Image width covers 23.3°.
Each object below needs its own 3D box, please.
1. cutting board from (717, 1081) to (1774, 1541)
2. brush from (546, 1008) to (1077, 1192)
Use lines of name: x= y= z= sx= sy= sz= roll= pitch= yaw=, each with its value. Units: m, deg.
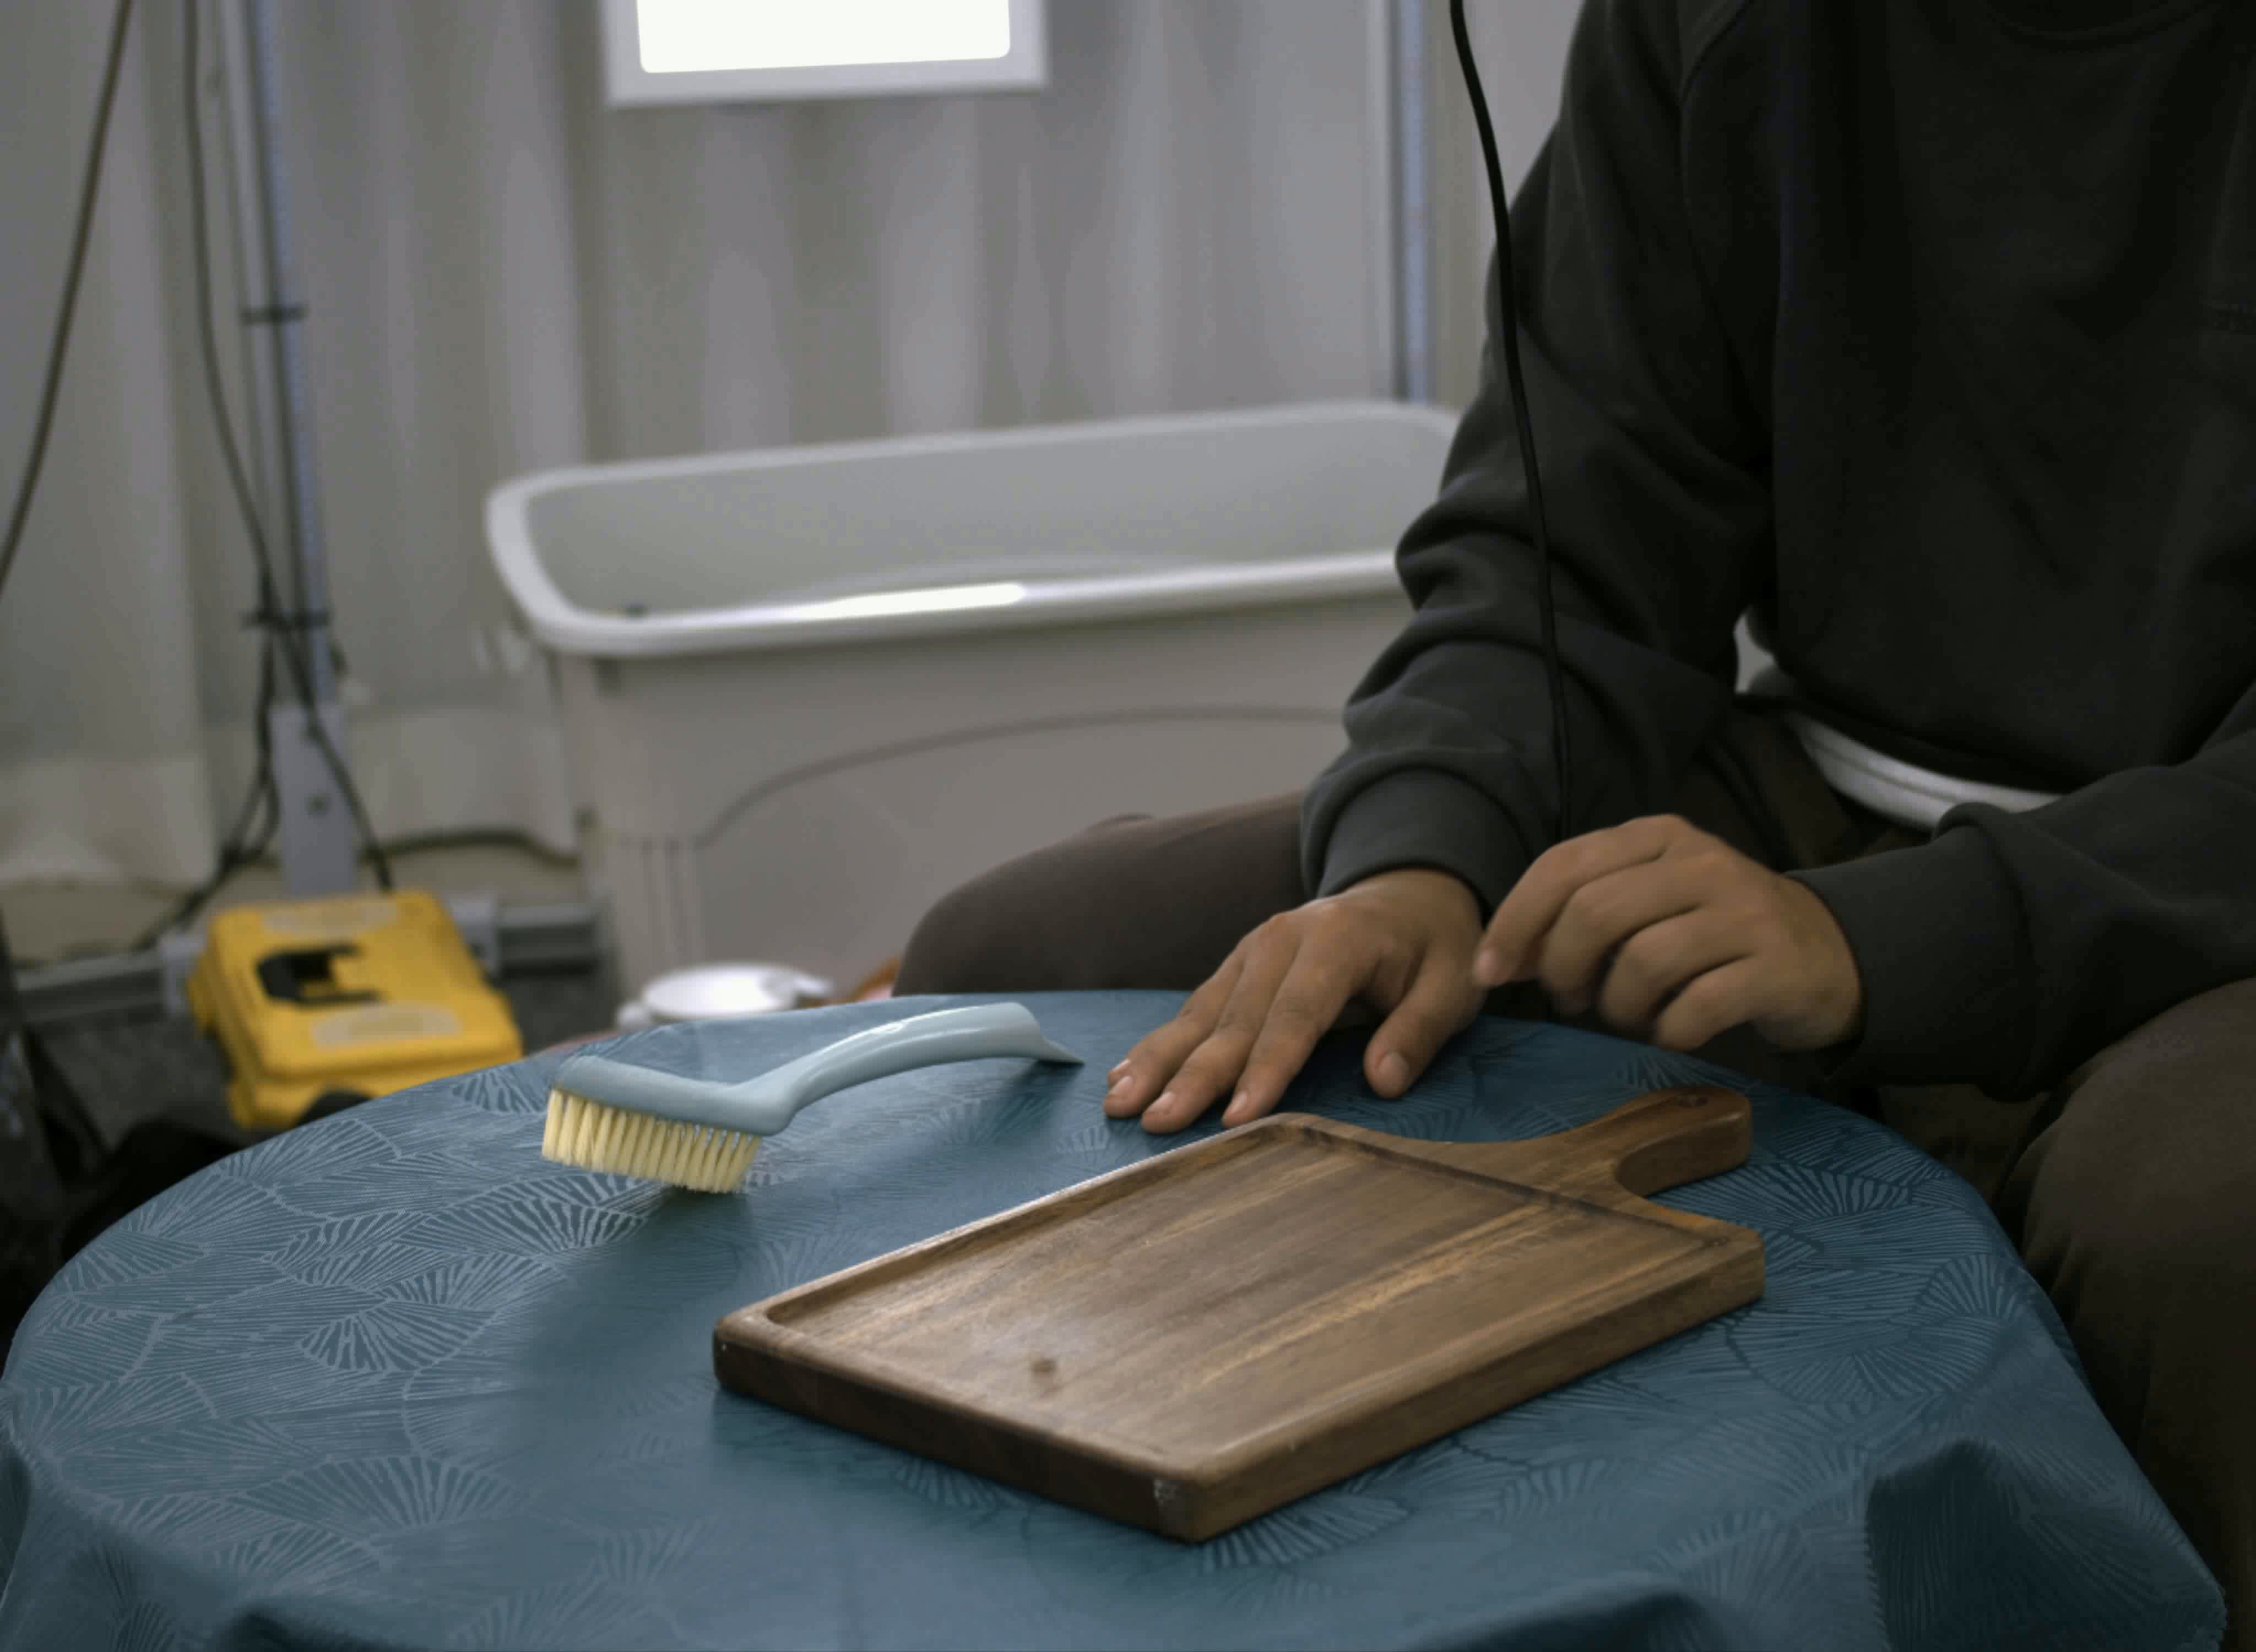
cutting board: x=0.070 y=0.129 z=1.613 sx=0.202 sy=0.023 sz=0.351 roll=12 pitch=21 yaw=43
brush: x=-0.100 y=0.089 z=1.774 sx=0.038 sy=0.049 sz=0.227 roll=12 pitch=12 yaw=40
